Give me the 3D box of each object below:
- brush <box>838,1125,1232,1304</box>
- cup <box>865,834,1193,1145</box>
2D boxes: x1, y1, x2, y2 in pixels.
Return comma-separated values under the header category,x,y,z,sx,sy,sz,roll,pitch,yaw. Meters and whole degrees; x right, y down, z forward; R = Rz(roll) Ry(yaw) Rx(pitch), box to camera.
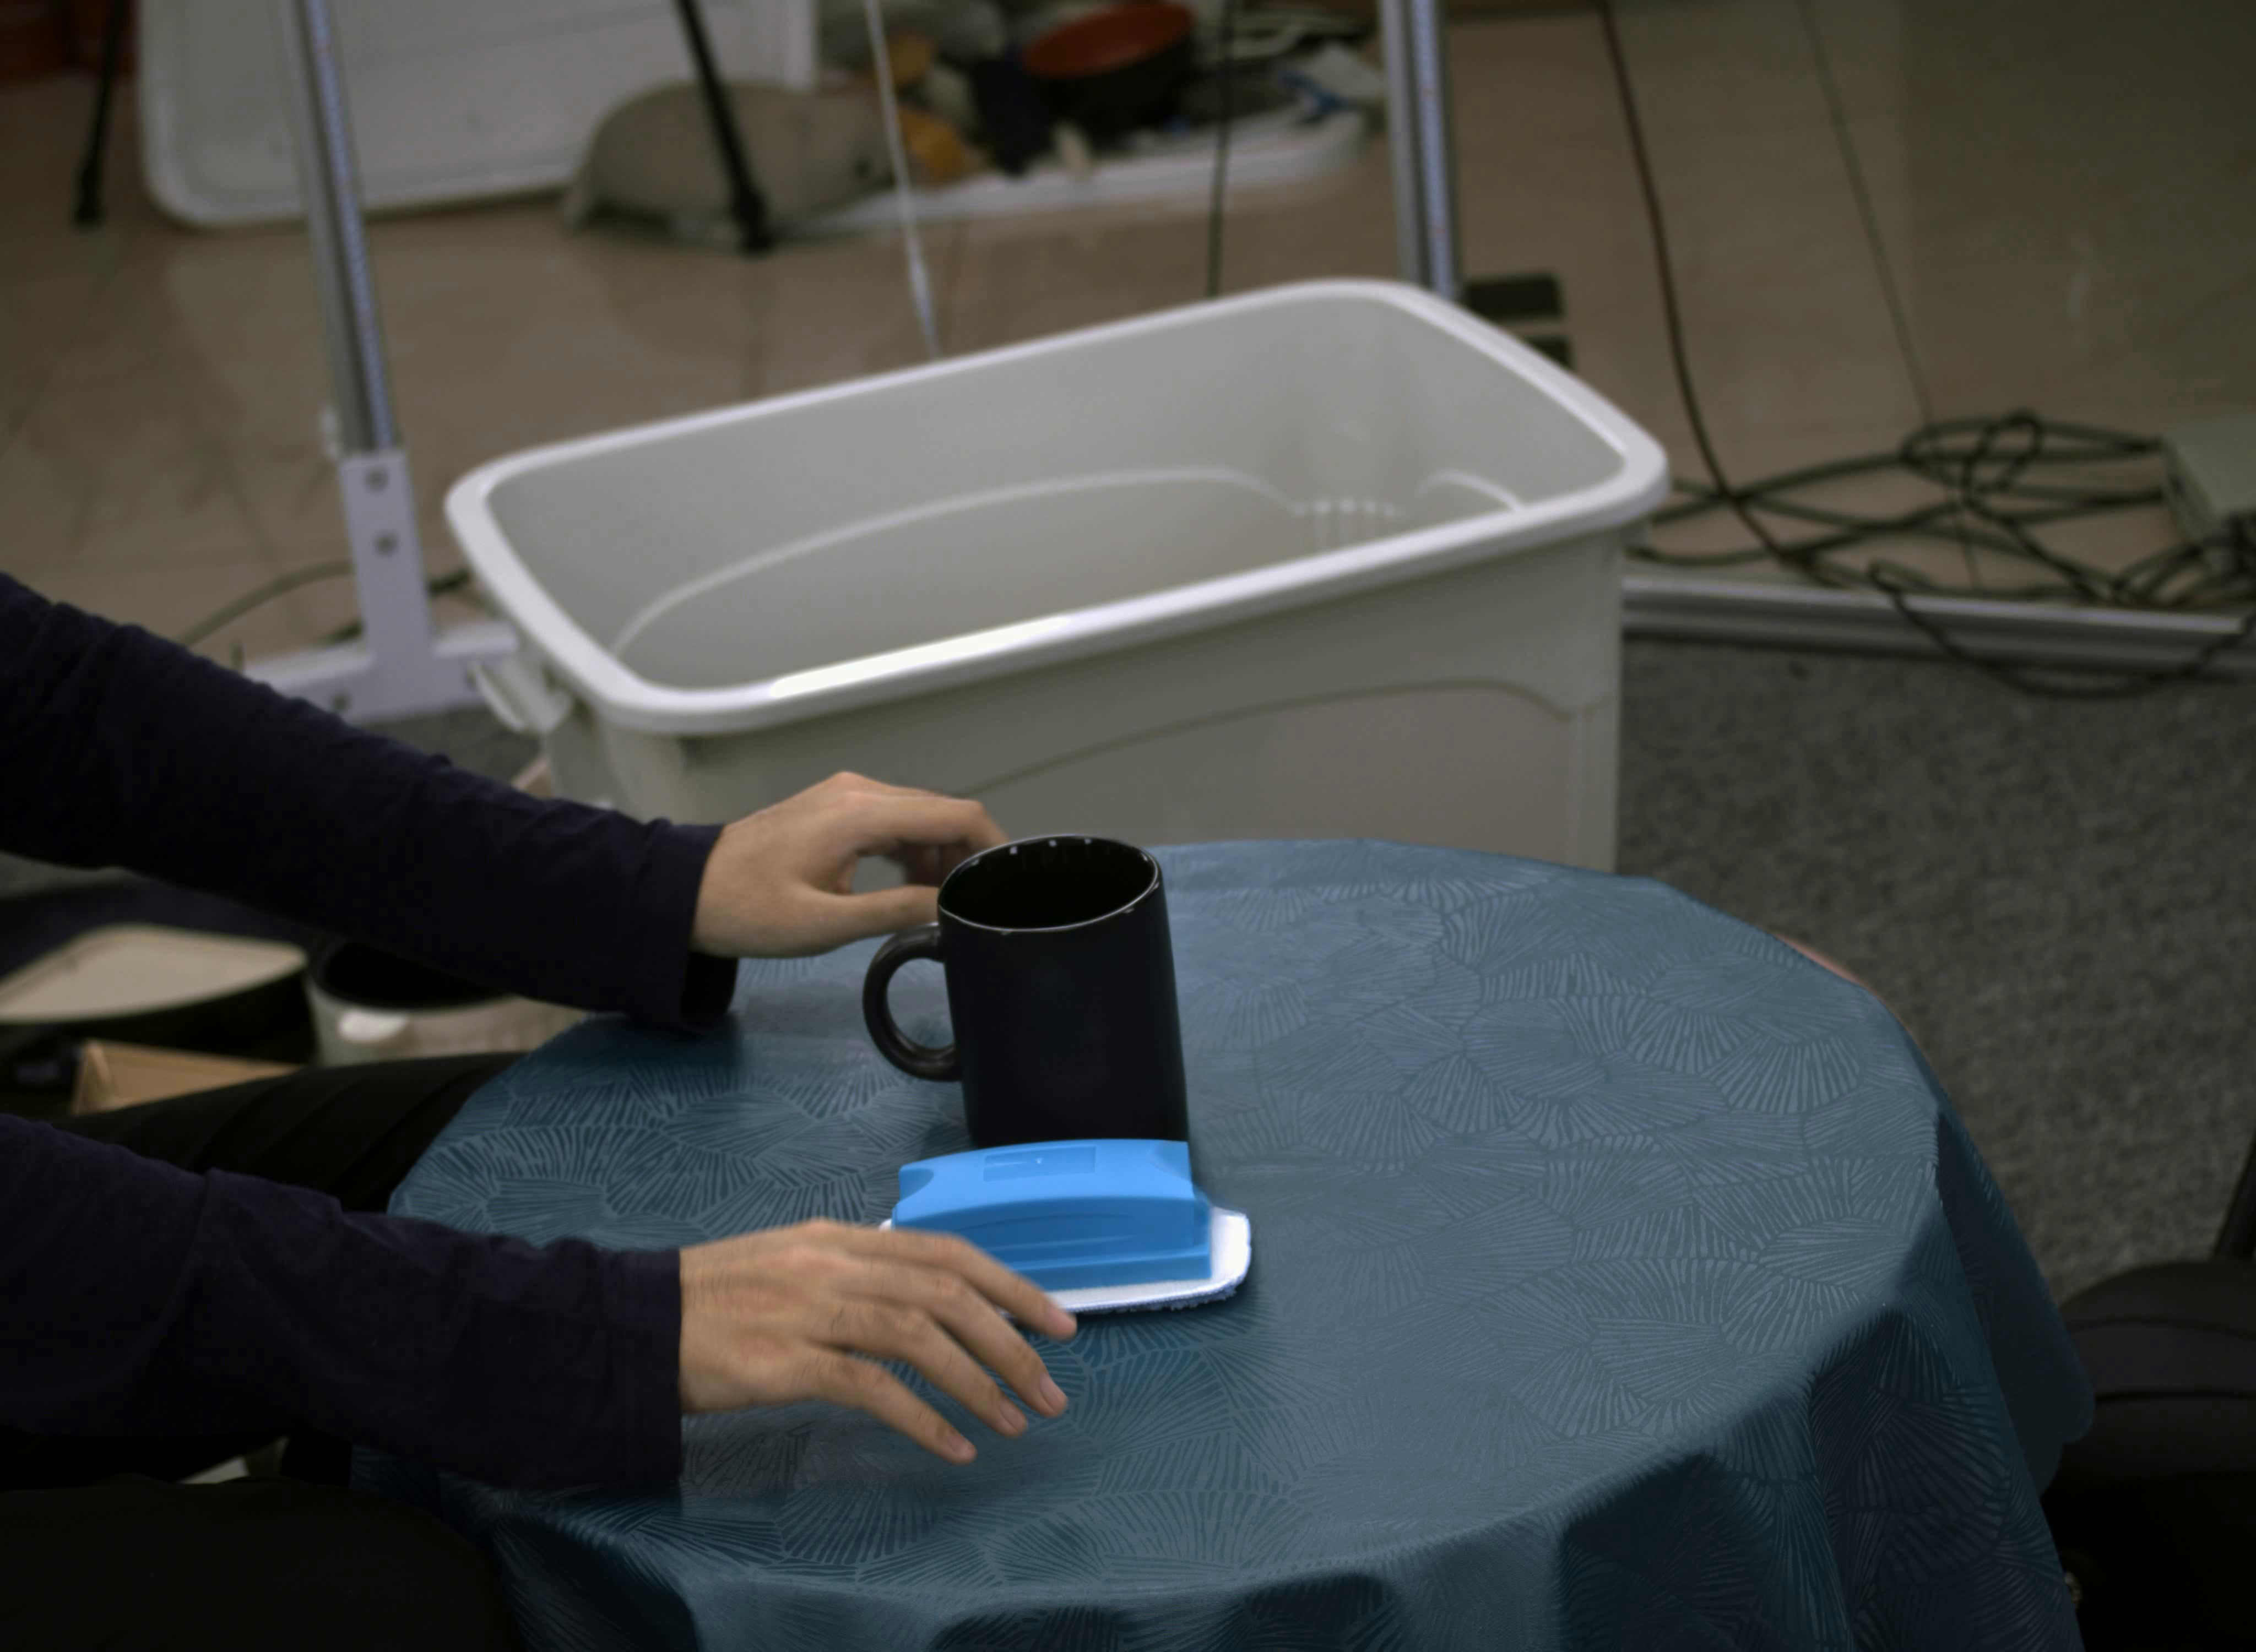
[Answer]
category,x,y,z,sx,sy,sz,roll,pitch,yaw
brush,-0.034,0.140,2.081,0.144,0.057,0.083,-2,22,4
cup,-0.041,0.069,2.188,0.123,0.107,0.087,-3,27,12
